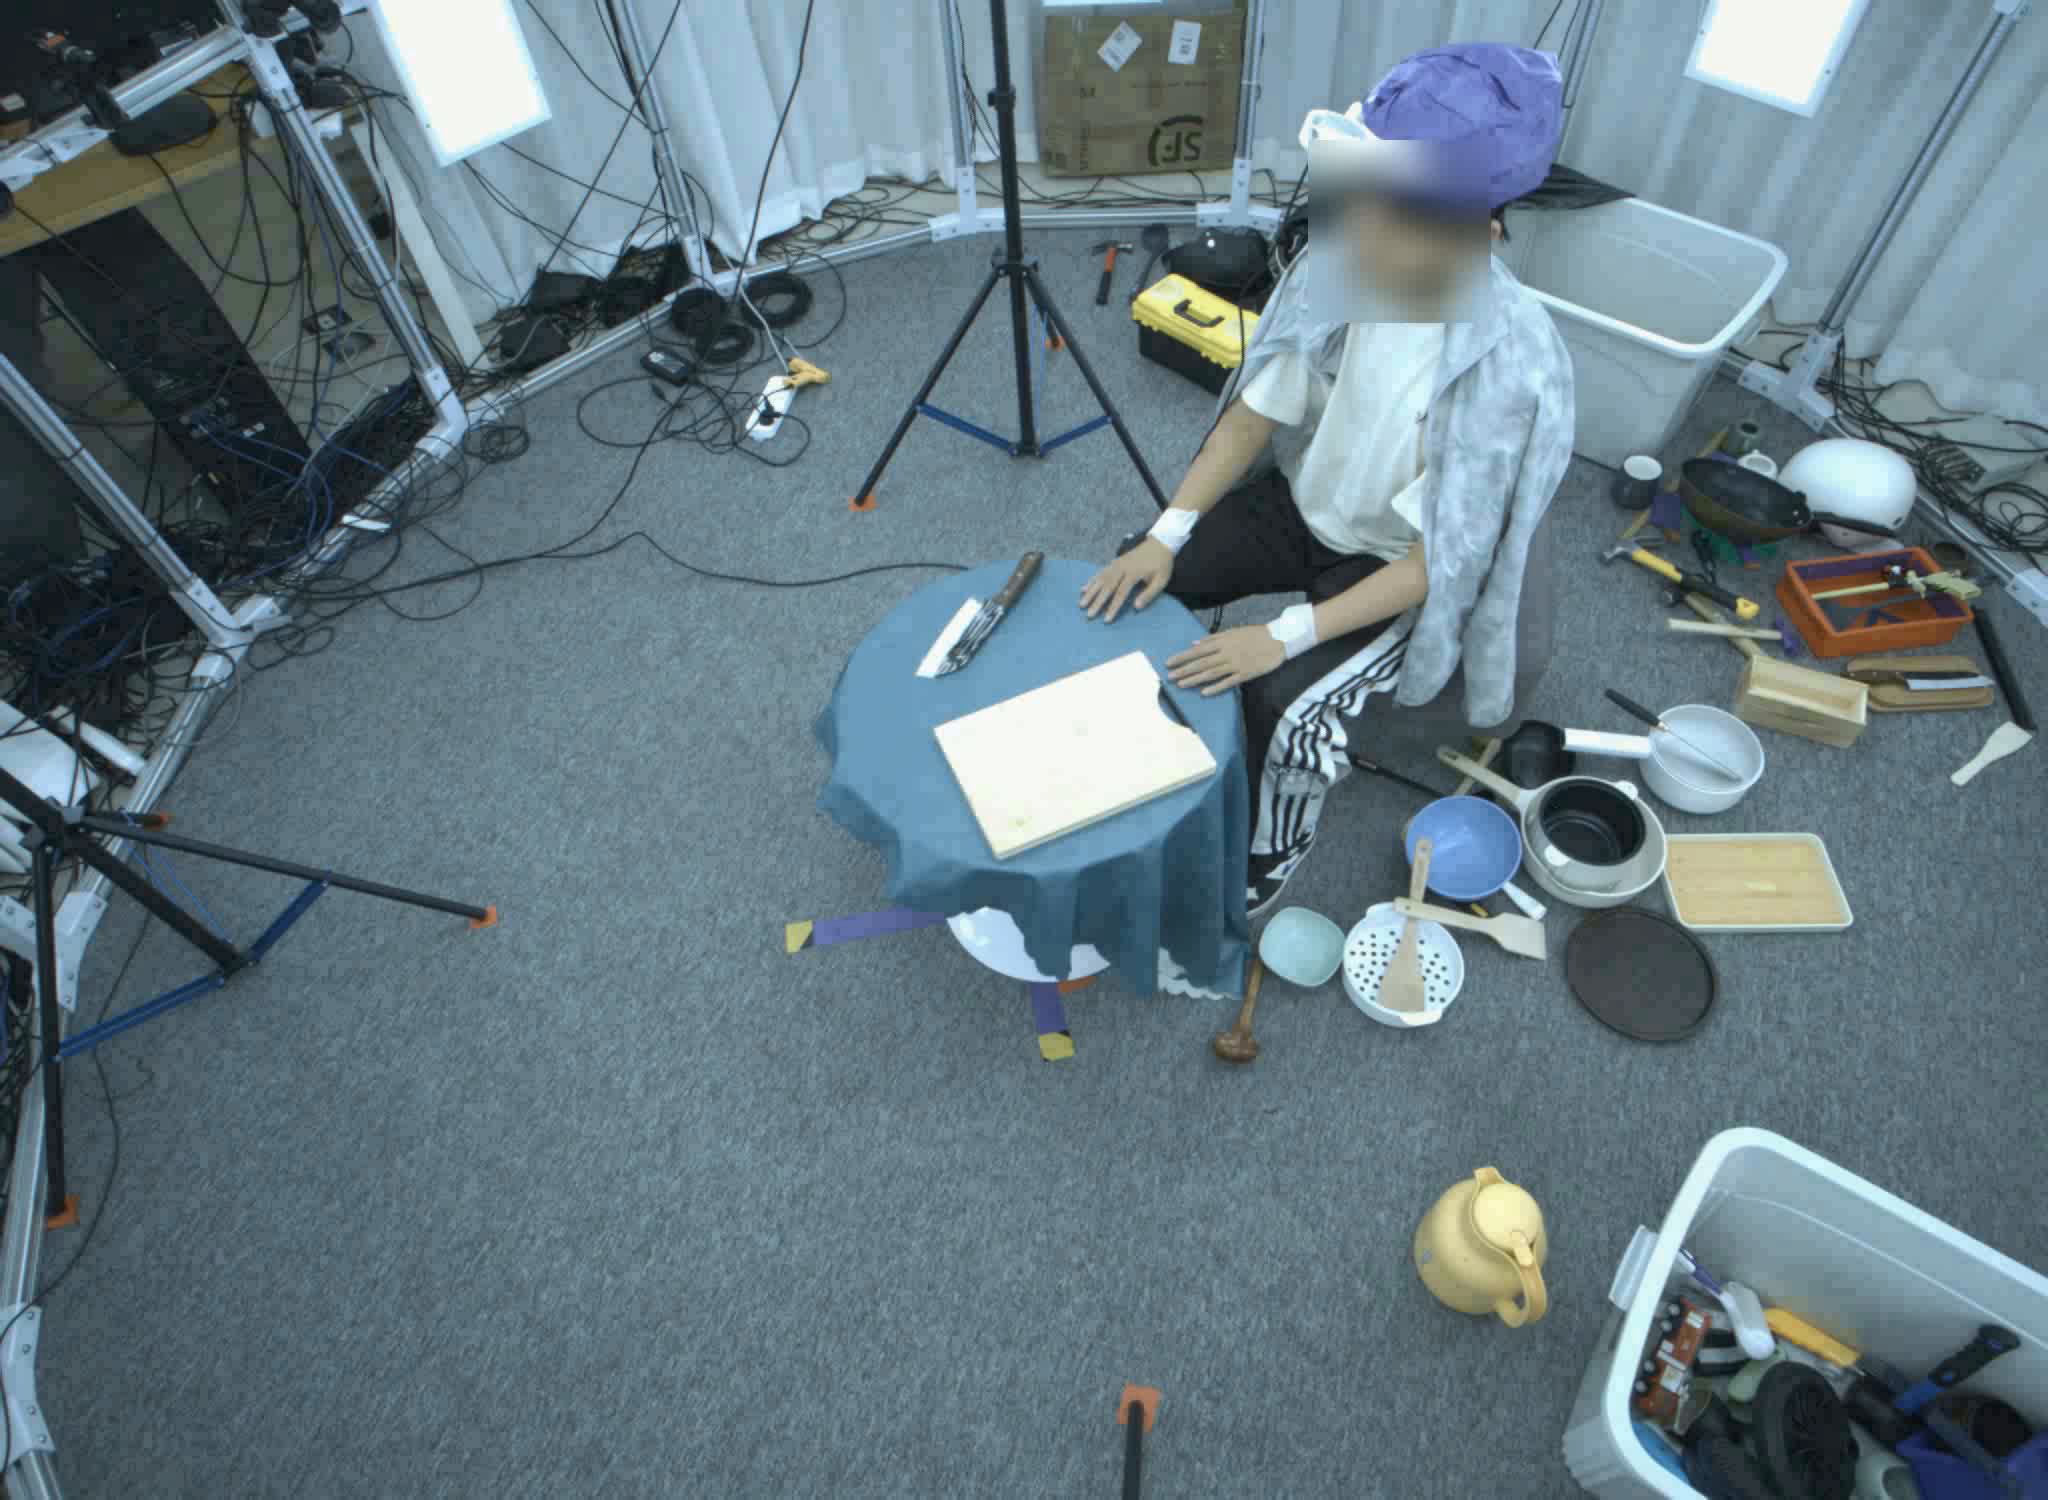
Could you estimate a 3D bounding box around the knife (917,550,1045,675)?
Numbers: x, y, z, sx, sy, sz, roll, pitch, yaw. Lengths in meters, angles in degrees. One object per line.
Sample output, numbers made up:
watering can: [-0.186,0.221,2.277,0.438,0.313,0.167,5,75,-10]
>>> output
knife: [-0.067,-0.218,1.934,0.067,0.024,0.300,25,62,21]

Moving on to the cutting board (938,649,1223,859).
cutting board: [0.075,-0.002,1.779,0.351,0.024,0.246,-22,57,-13]
